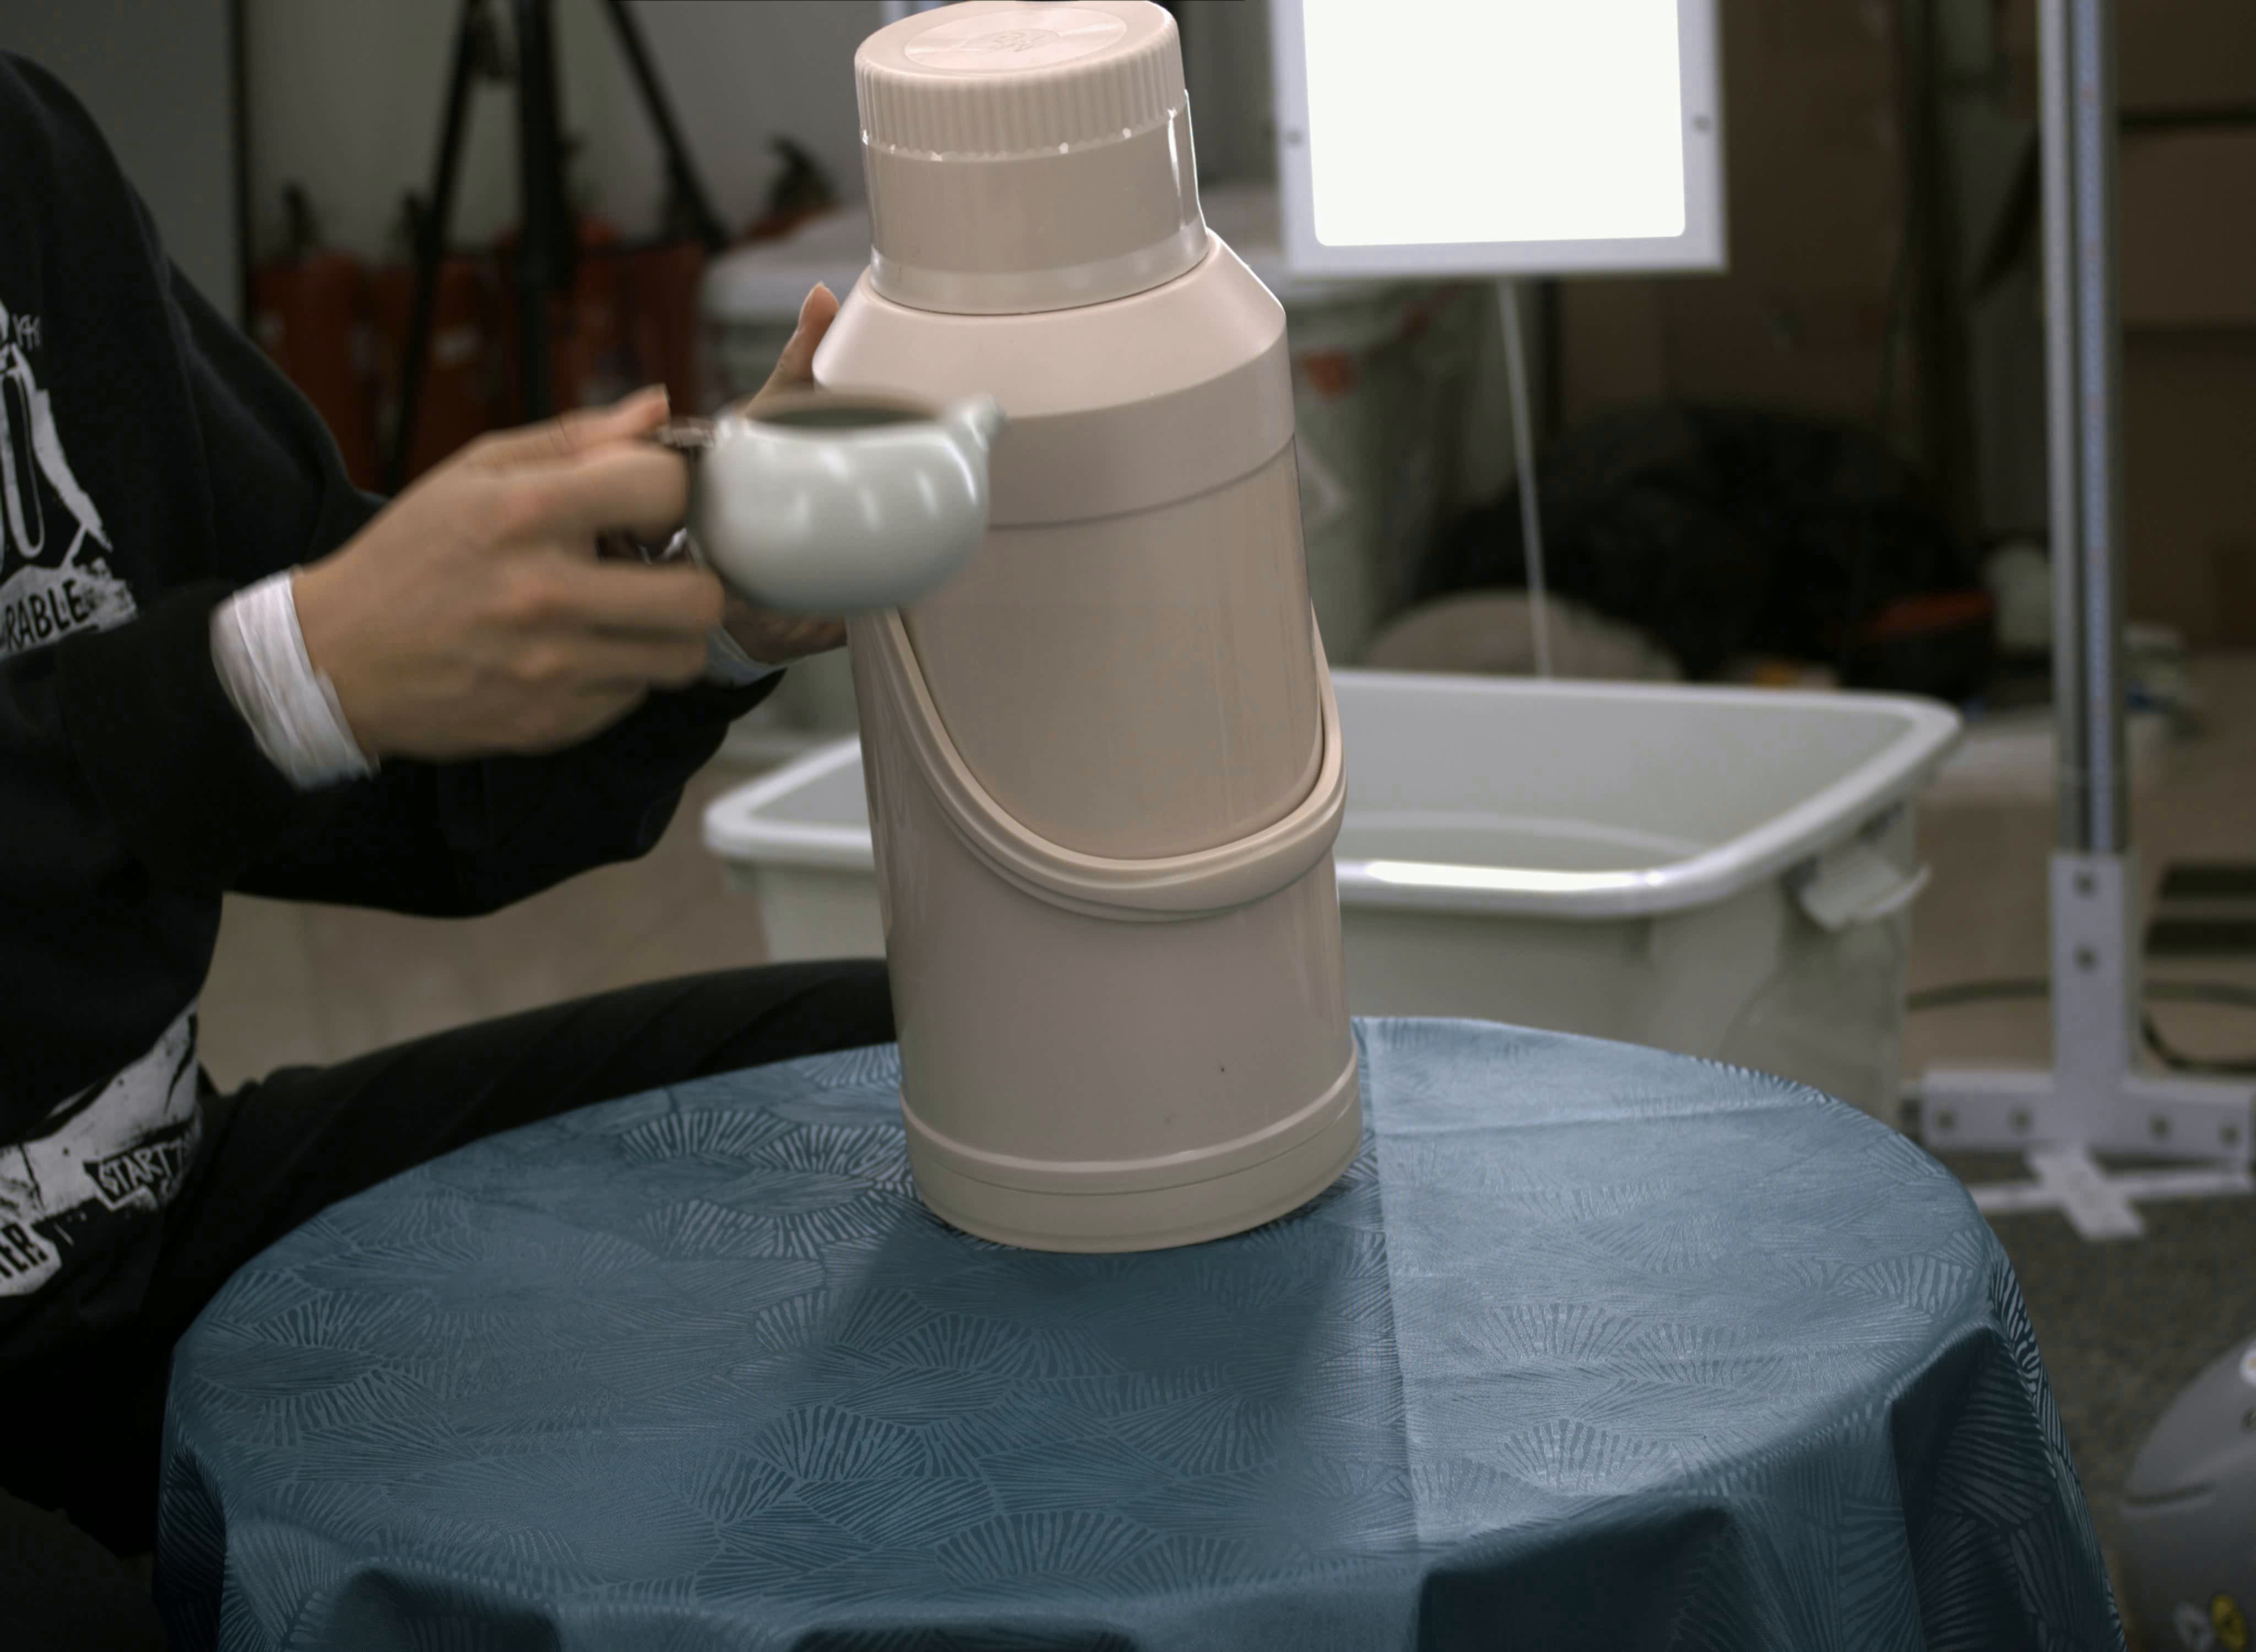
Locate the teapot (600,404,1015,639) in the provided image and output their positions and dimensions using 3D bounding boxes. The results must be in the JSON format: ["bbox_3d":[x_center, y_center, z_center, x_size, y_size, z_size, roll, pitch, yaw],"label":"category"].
[{"bbox_3d":[-0.094,-0.090,1.637,0.126,0.060,0.093,-6,21,-17],"label":"teapot"}]

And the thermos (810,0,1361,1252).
[{"bbox_3d":[-0.024,-0.074,1.844,0.171,0.407,0.211,-22,28,-31],"label":"thermos"}]
